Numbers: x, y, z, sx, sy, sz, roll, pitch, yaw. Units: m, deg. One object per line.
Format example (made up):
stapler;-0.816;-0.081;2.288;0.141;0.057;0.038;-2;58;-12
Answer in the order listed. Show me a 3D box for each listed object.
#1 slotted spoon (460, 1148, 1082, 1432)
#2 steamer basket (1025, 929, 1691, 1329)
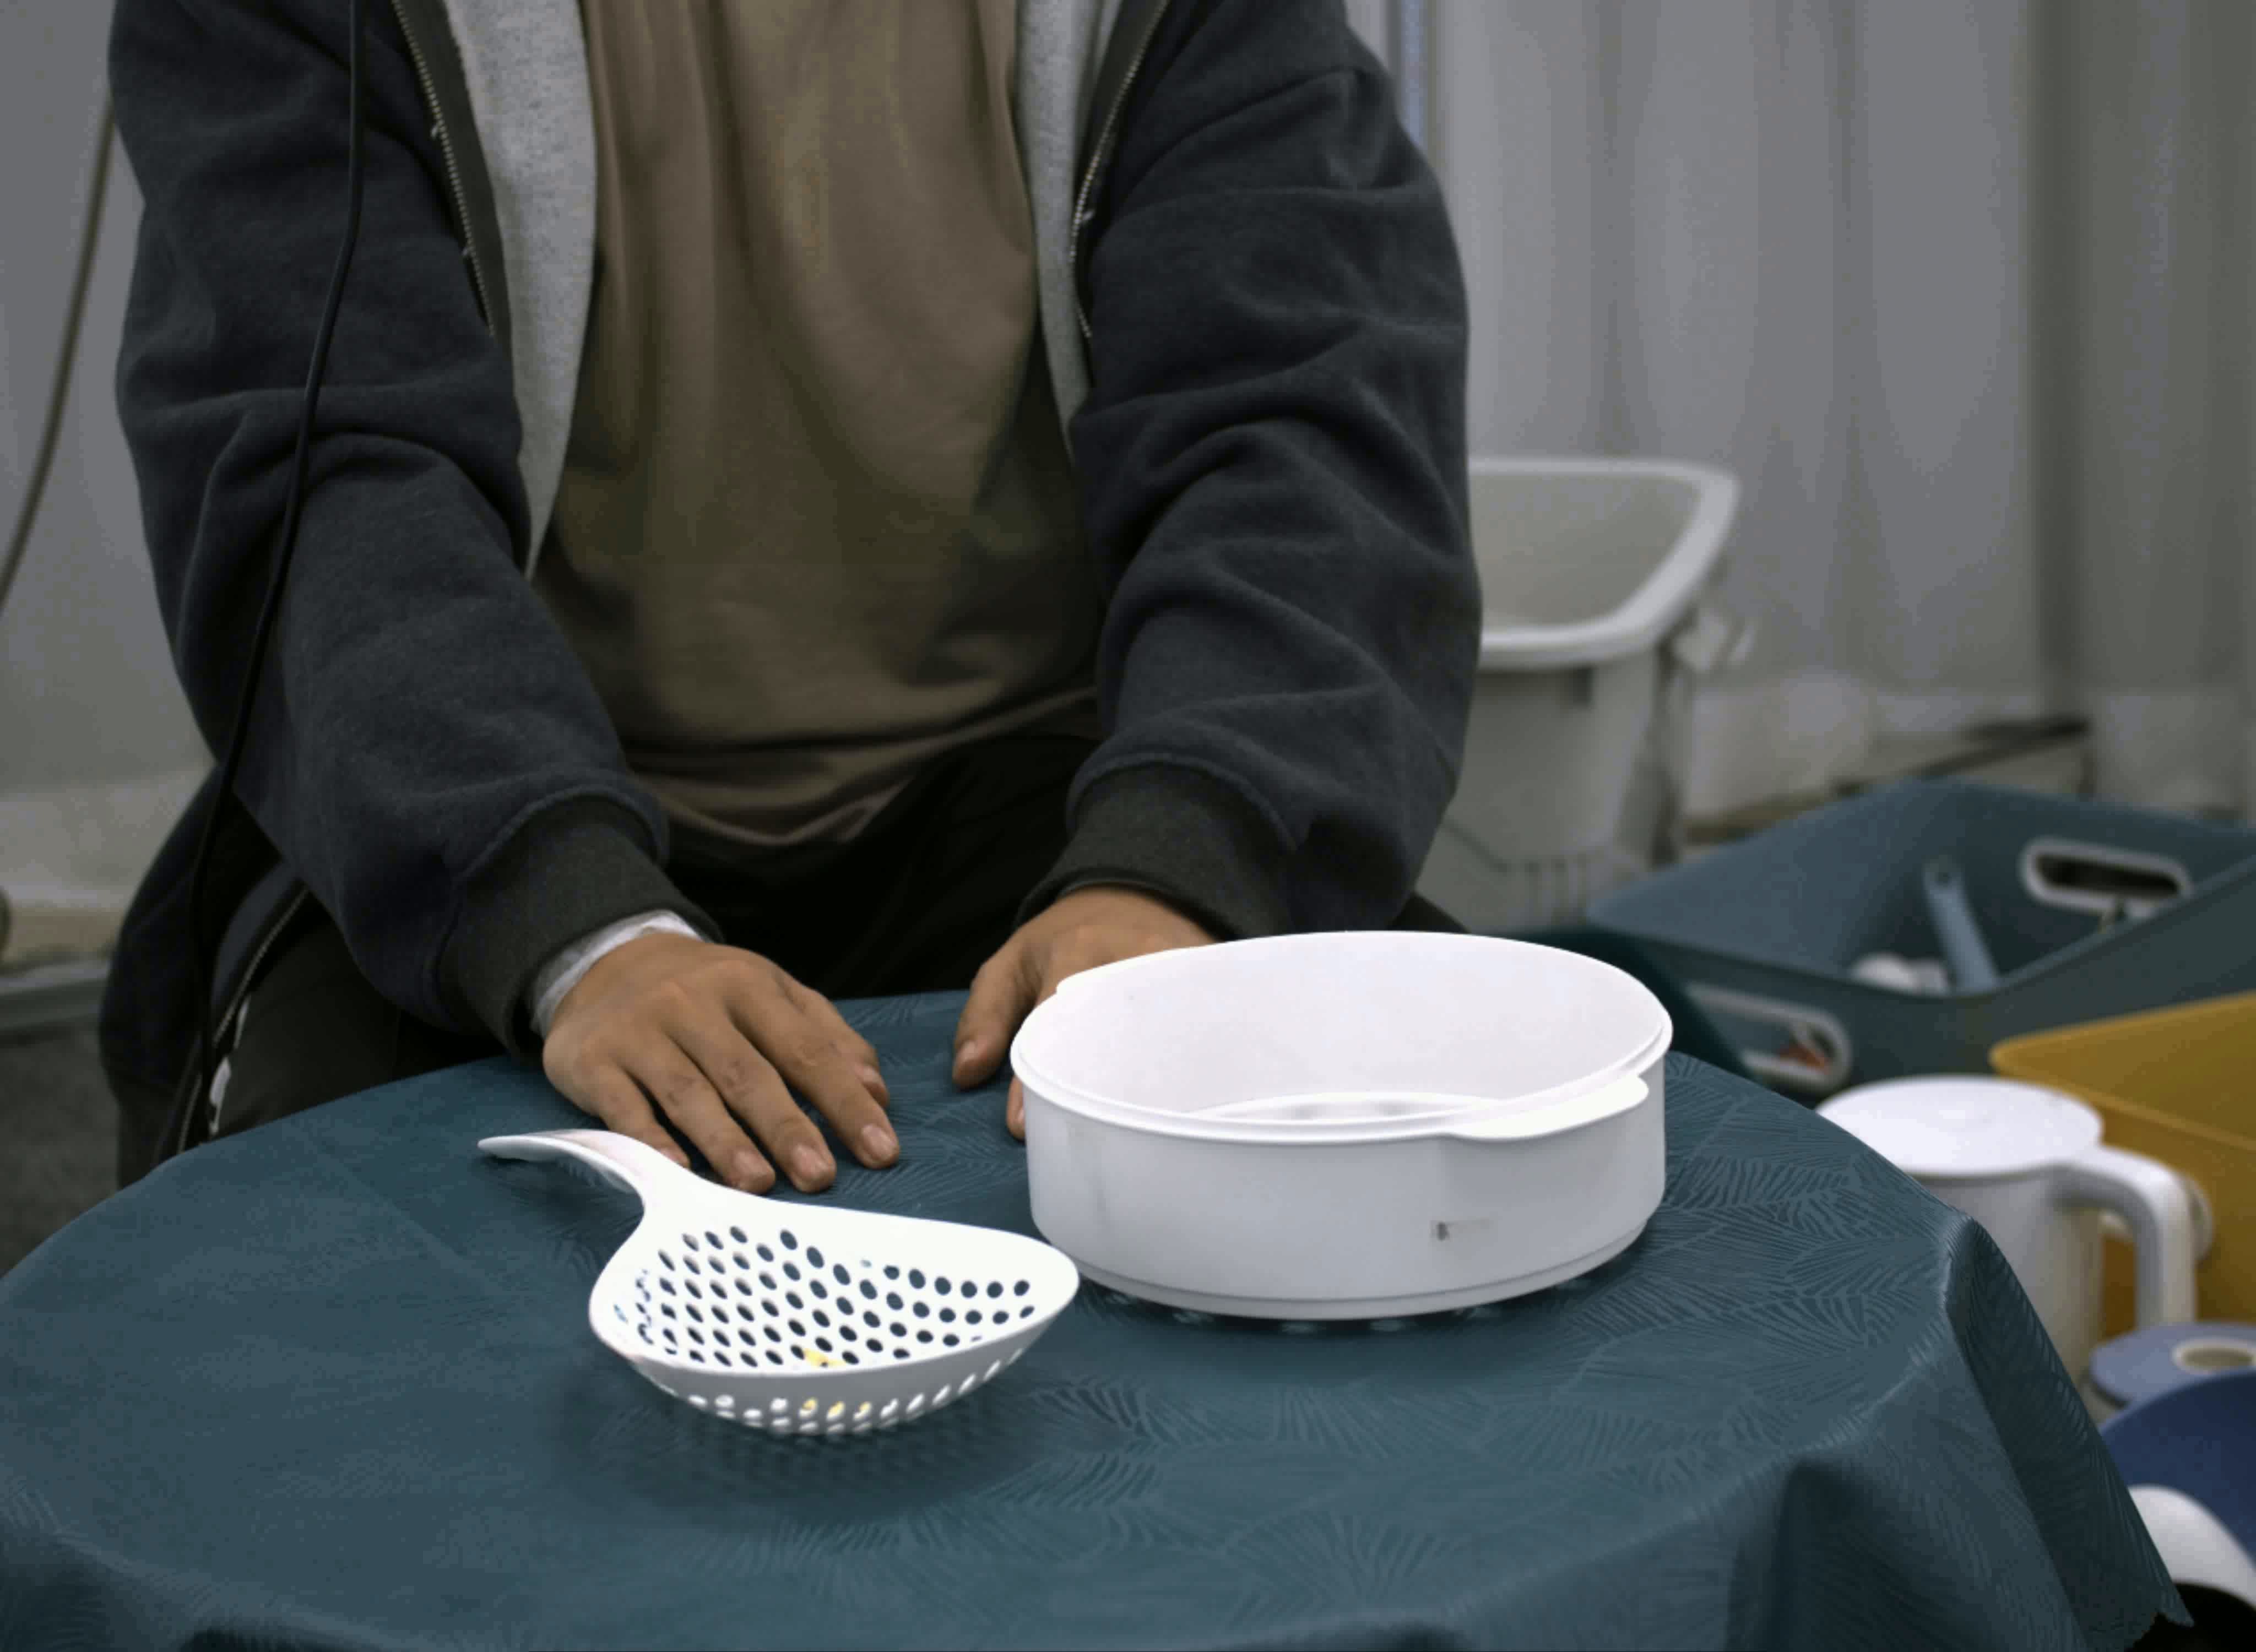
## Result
slotted spoon;-0.129;0.124;1.629;0.136;0.050;0.350;-14;18;-24
steamer basket;0.070;0.092;1.657;0.201;0.069;0.232;-13;20;-34
